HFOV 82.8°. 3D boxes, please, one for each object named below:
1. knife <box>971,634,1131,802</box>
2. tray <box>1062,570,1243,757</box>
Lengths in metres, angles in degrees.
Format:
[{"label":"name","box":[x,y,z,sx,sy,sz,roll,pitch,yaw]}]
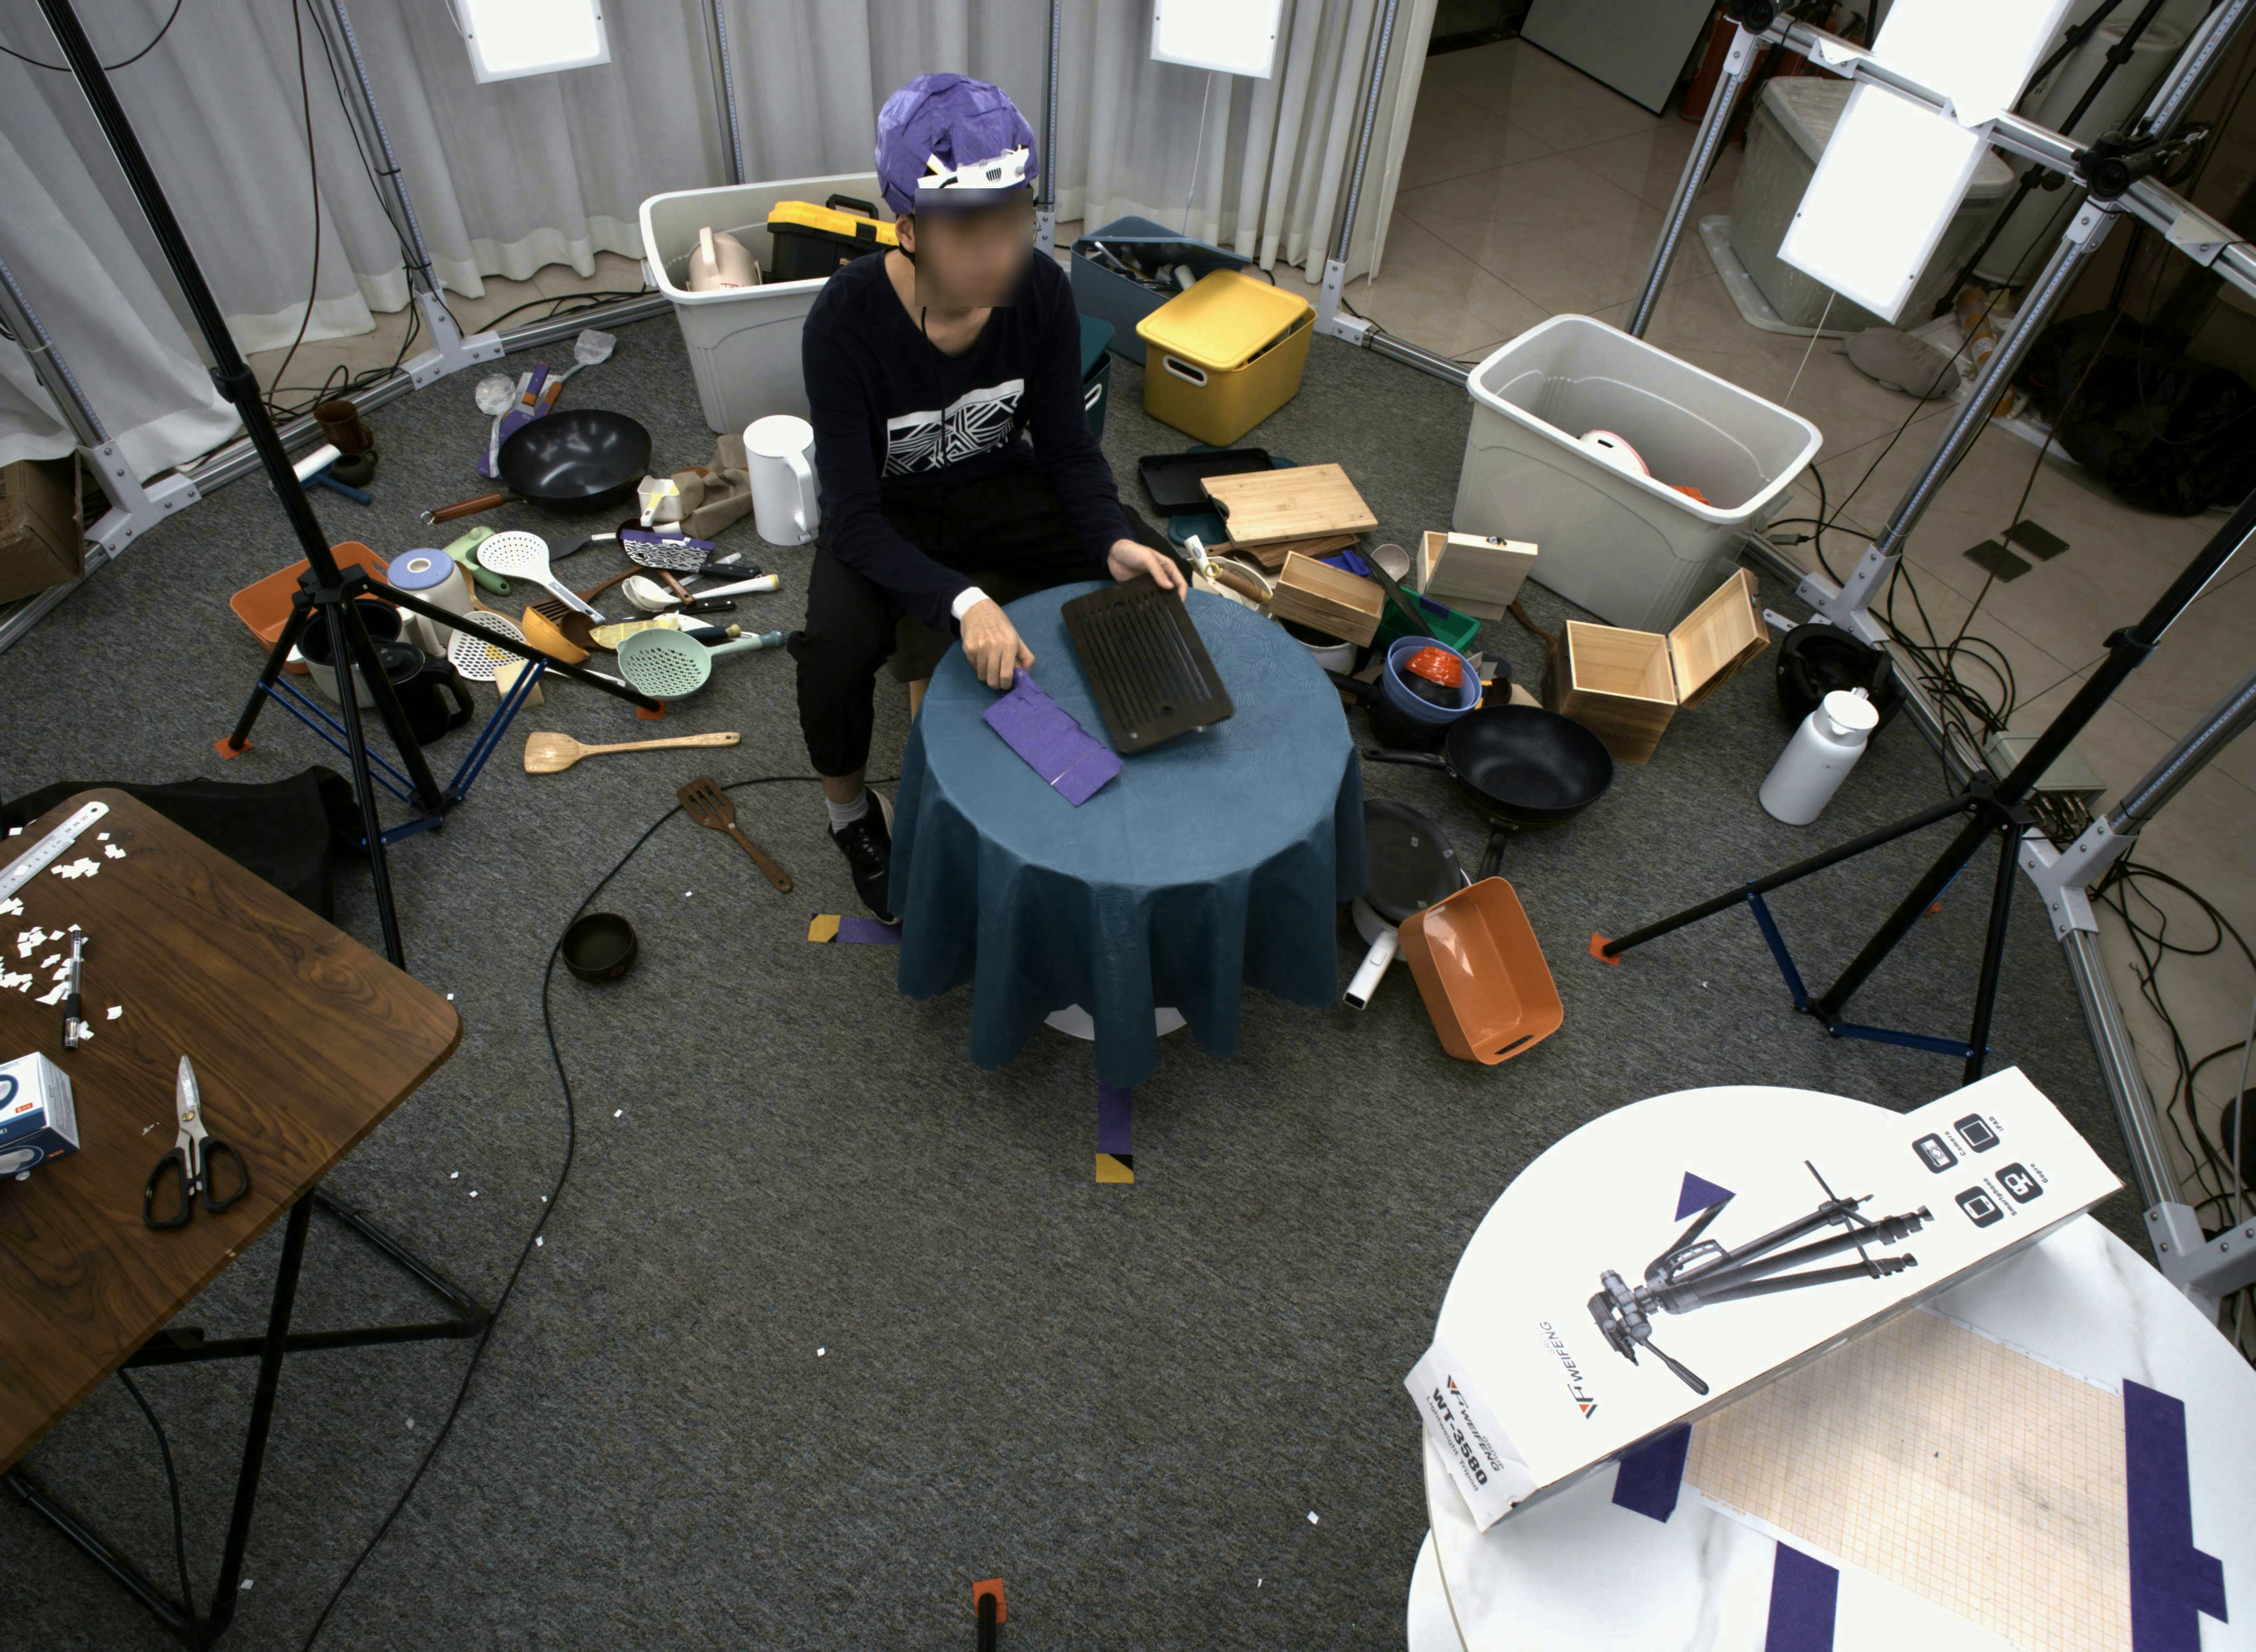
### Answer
[{"label":"knife","box":[-0.134,-0.152,1.764,0.104,0.031,0.320,-37,60,-19]},{"label":"tray","box":[0.030,-0.236,1.831,0.170,0.018,0.313,-22,54,-4]}]
